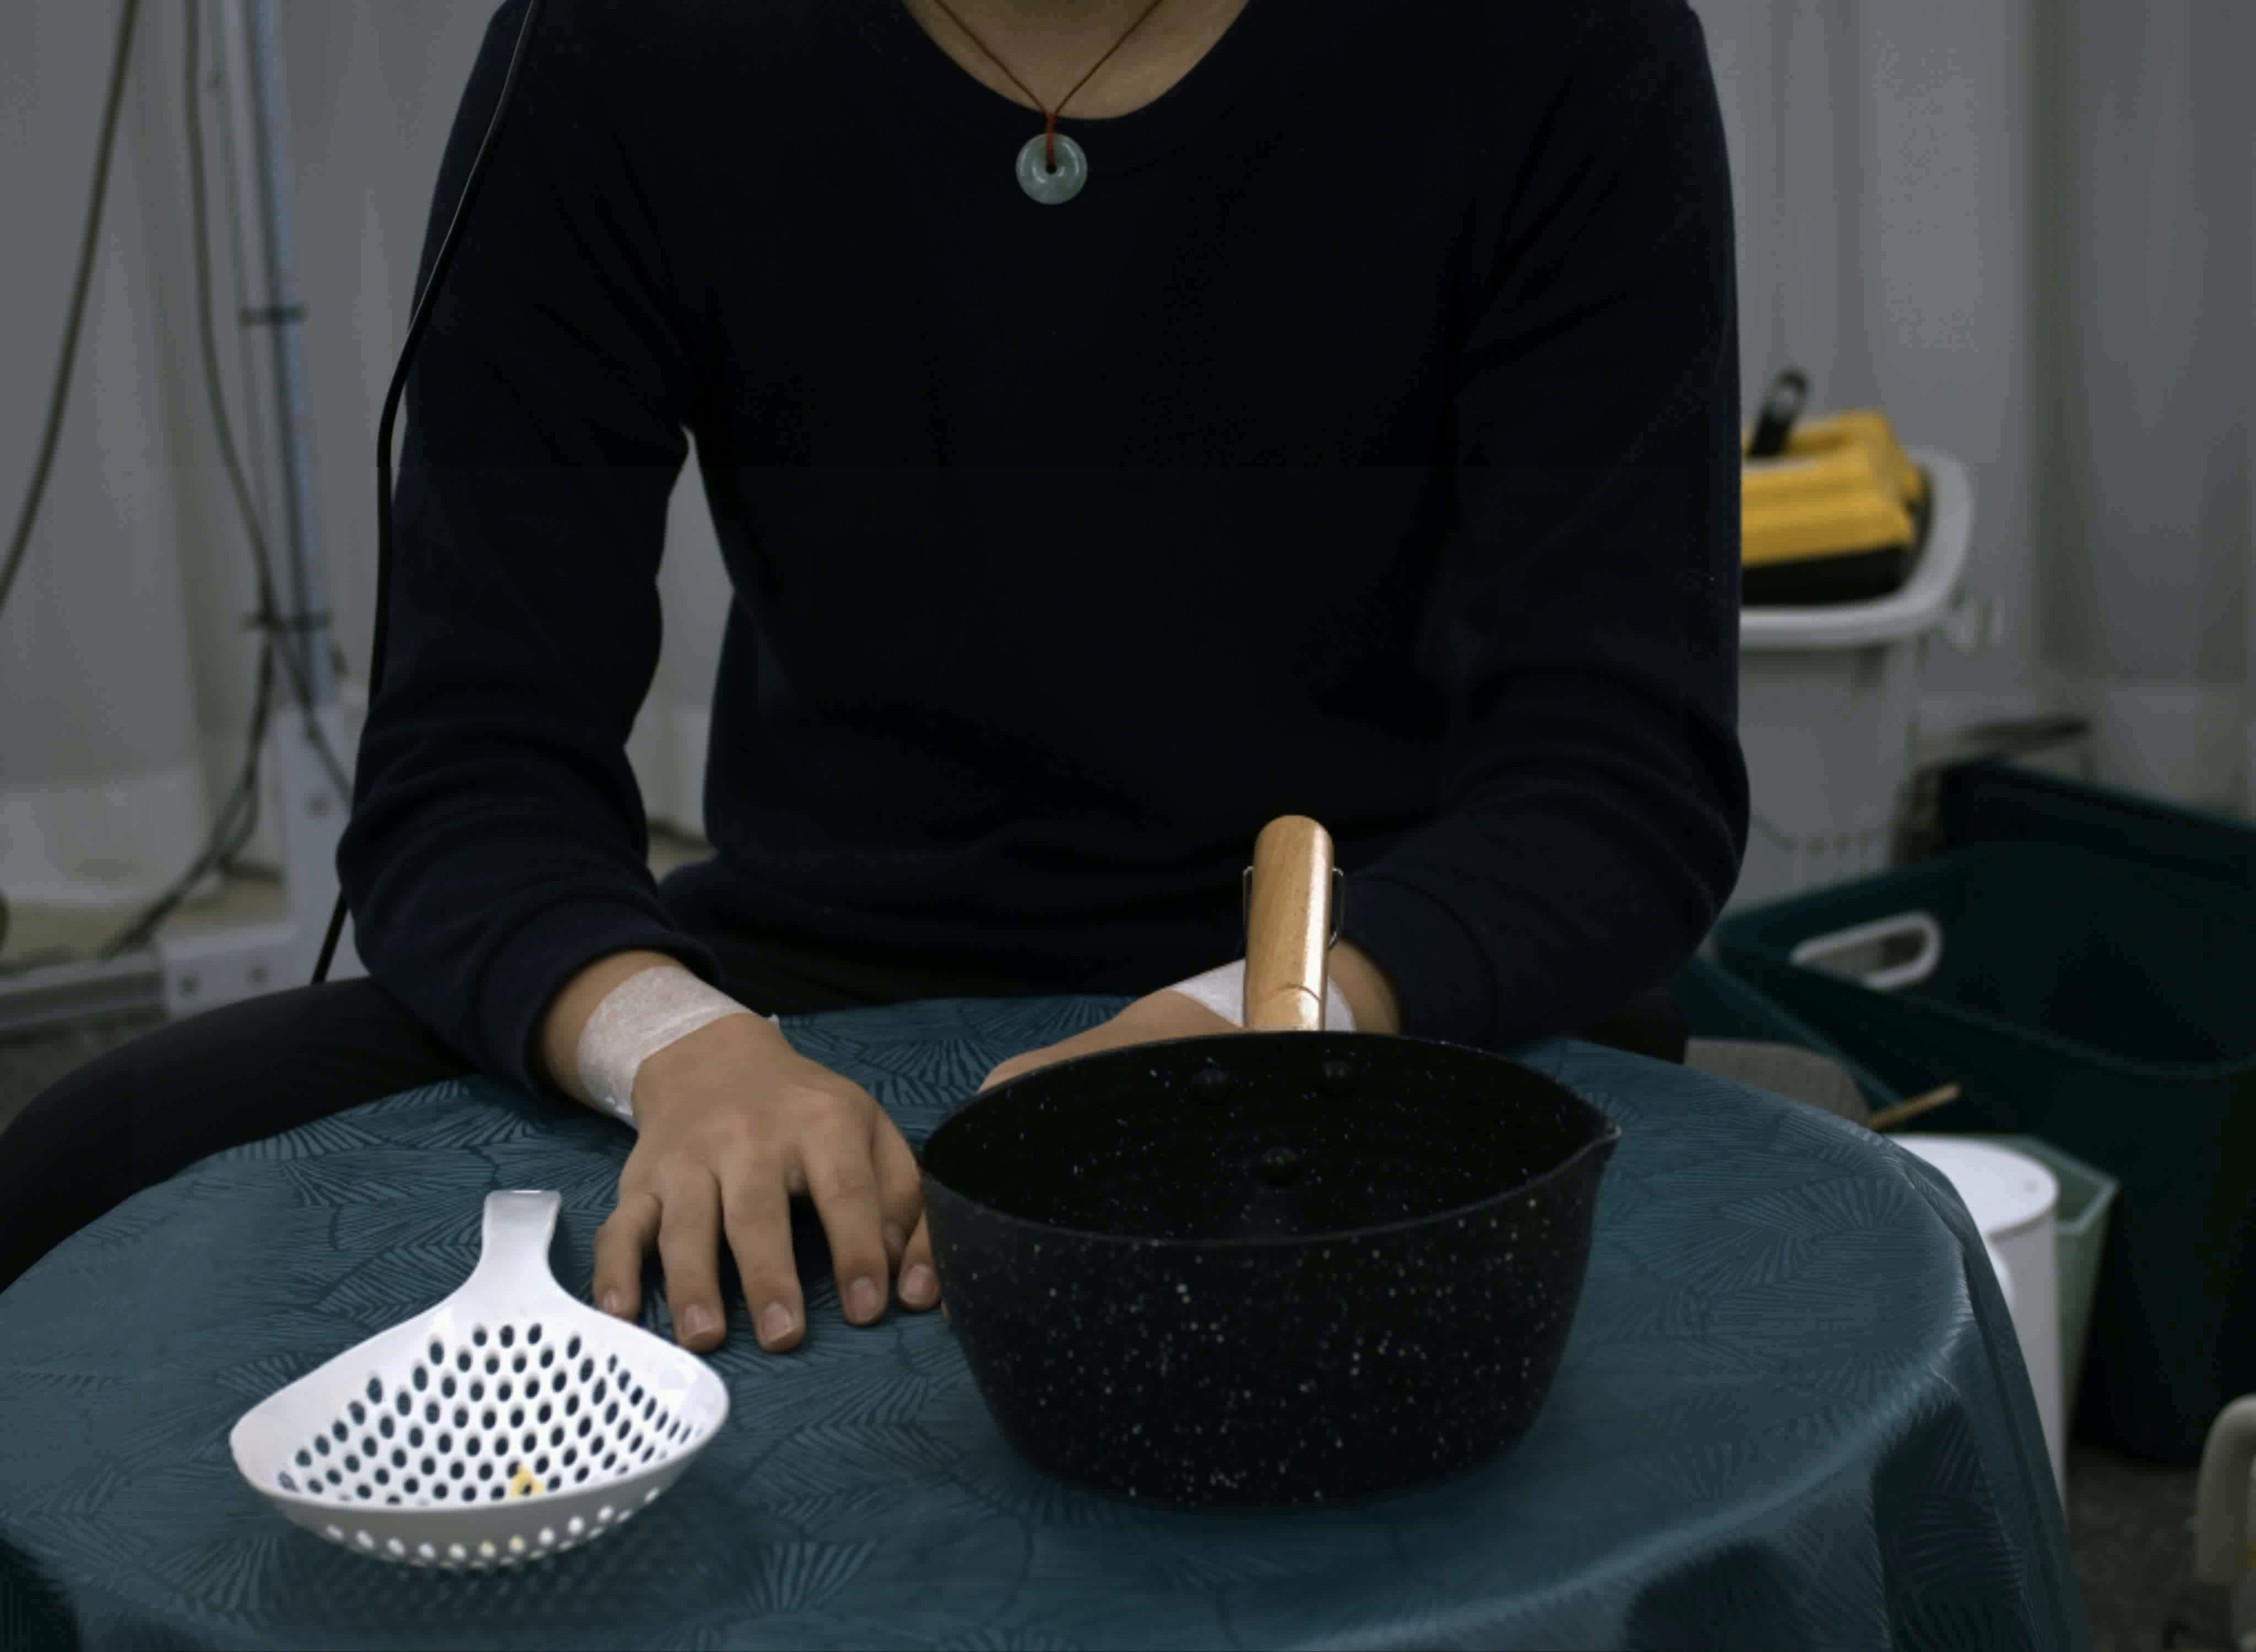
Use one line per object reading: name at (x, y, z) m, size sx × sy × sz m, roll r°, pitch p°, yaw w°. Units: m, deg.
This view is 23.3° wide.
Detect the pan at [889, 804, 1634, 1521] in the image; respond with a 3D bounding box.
pan at (0.042, 0.092, 1.585) m, size 0.207 × 0.108 × 0.345 m, roll -3°, pitch 16°, yaw 4°

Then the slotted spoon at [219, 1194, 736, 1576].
slotted spoon at (-0.179, 0.144, 1.558) m, size 0.136 × 0.050 × 0.351 m, roll -5°, pitch 17°, yaw -3°
